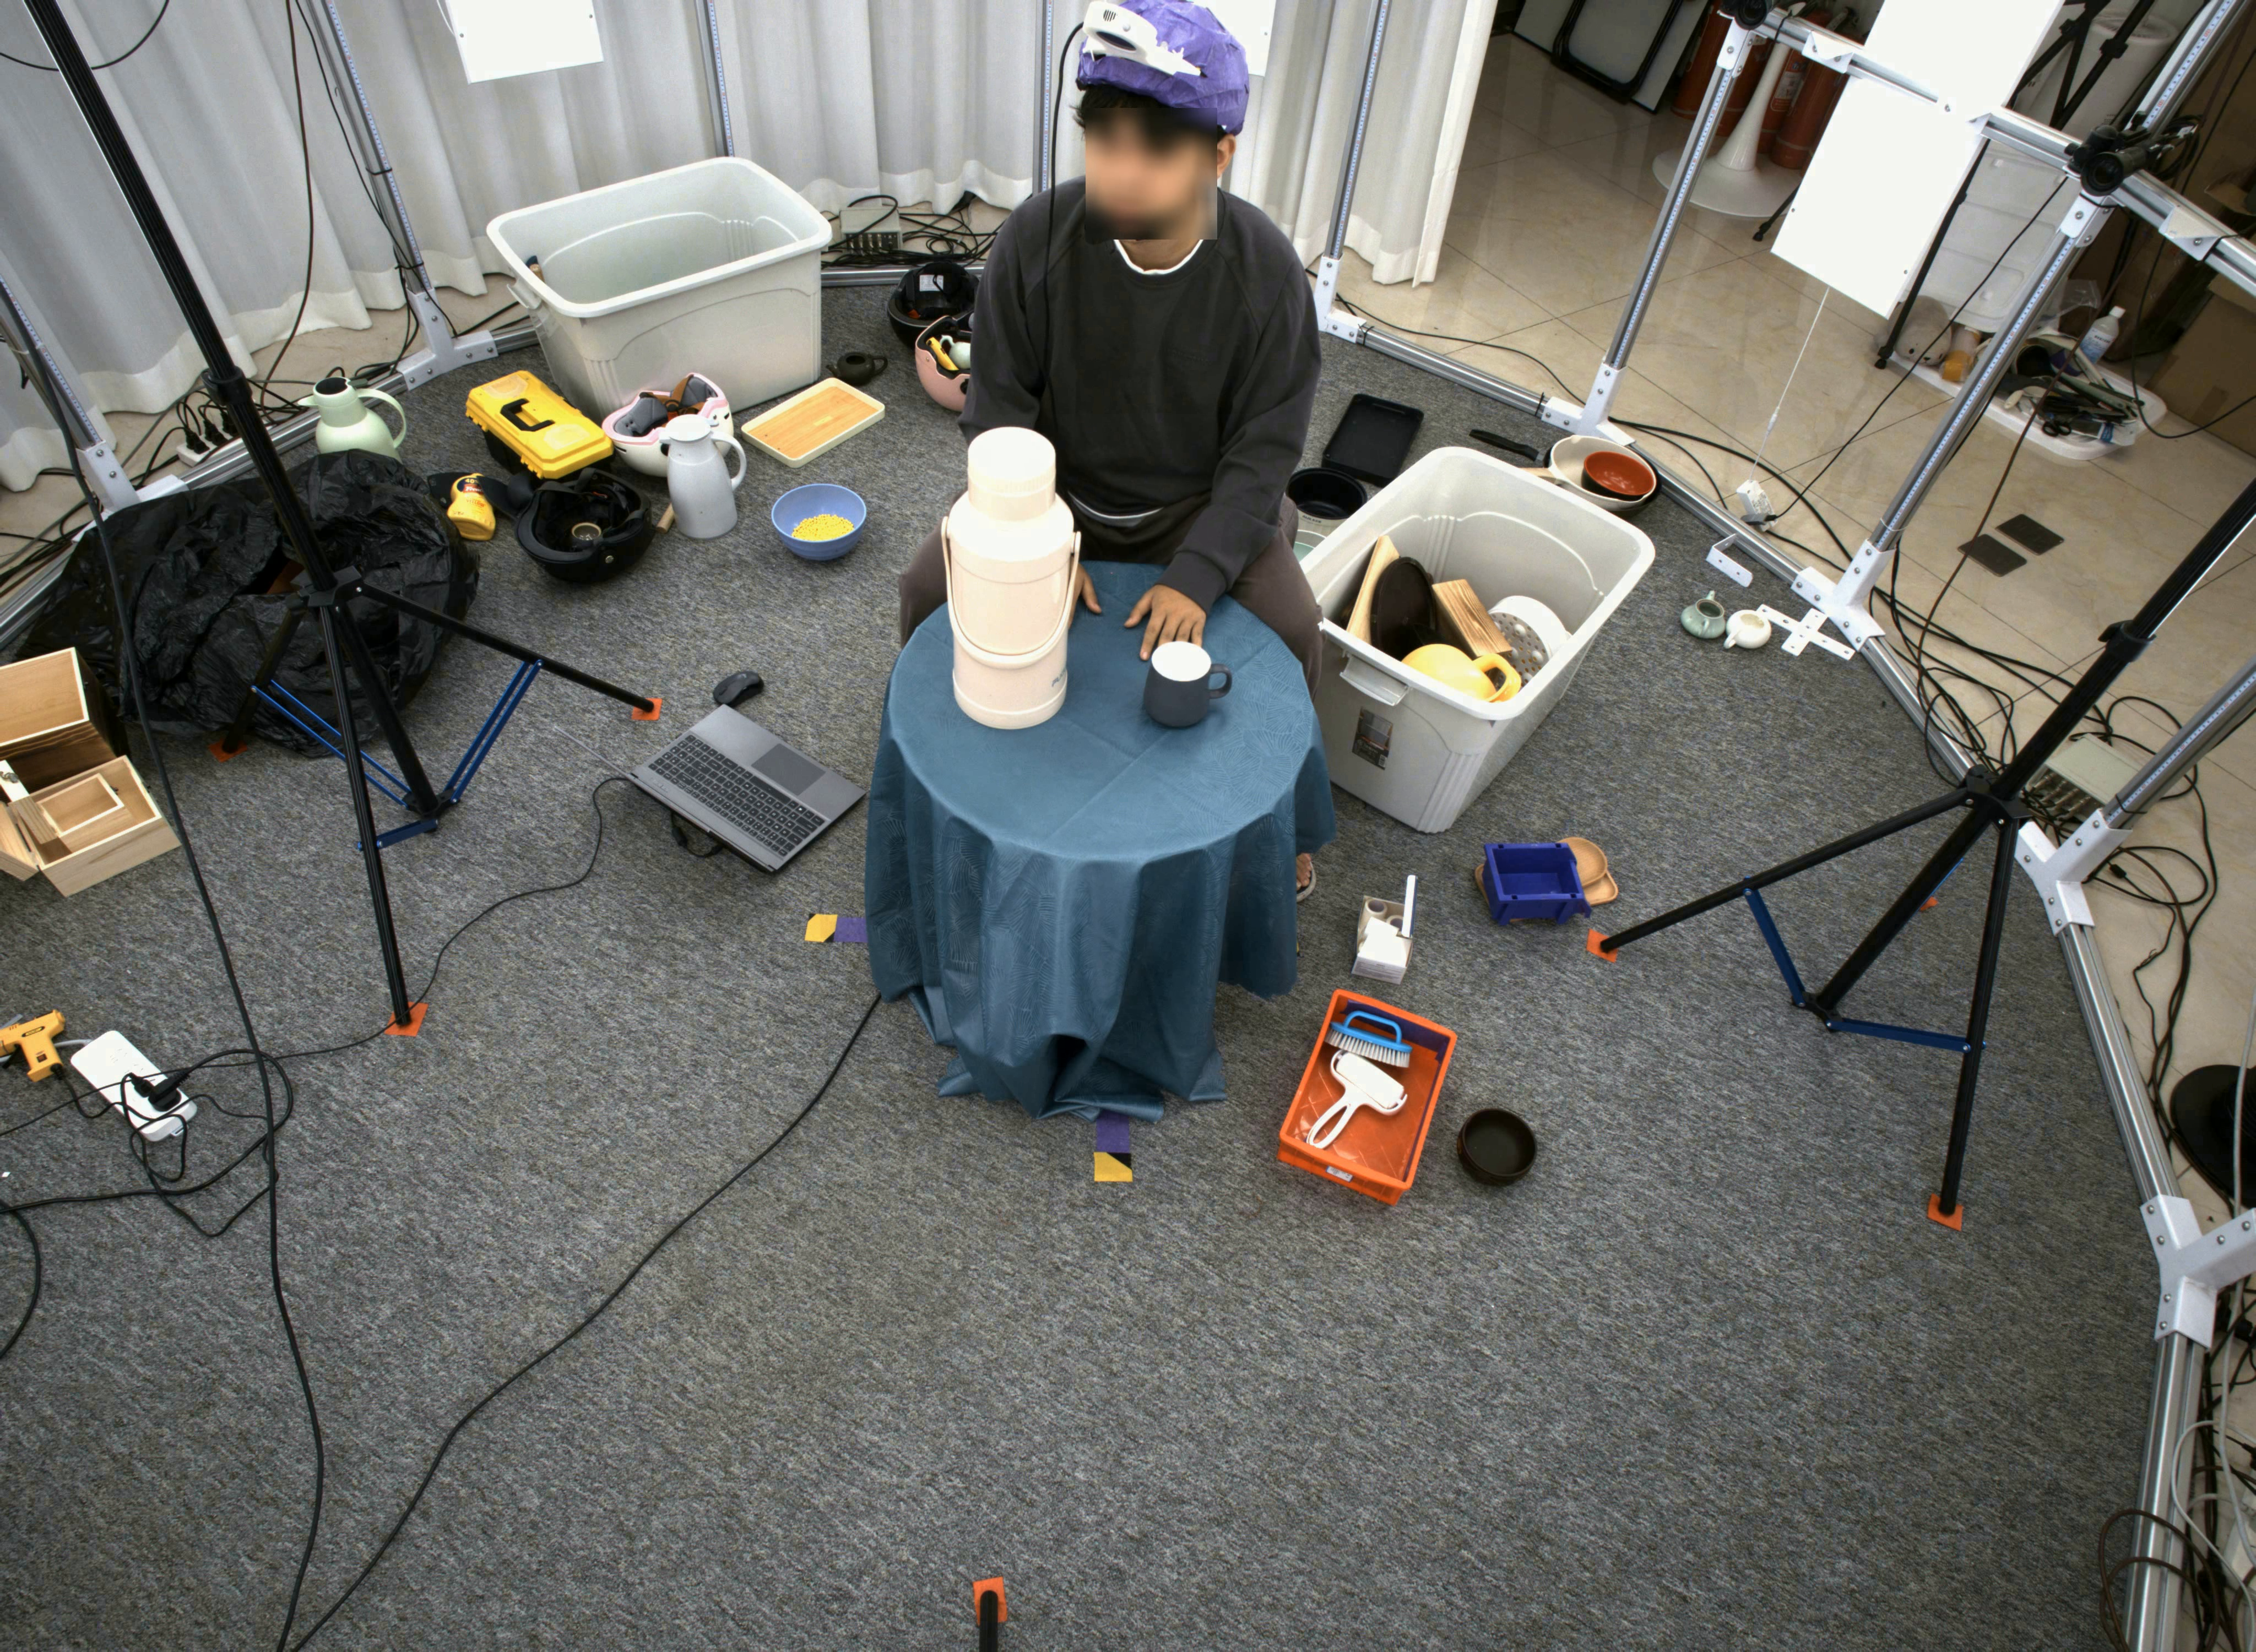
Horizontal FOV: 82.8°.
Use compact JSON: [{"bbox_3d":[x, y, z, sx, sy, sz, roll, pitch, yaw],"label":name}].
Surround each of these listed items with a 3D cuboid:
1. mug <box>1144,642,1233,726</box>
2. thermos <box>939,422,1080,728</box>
[{"bbox_3d":[0.085,-0.198,1.785,0.123,0.088,0.096,-4,49,-8],"label":"mug"},{"bbox_3d":[-0.151,-0.331,1.685,0.175,0.396,0.212,6,49,0],"label":"thermos"}]
